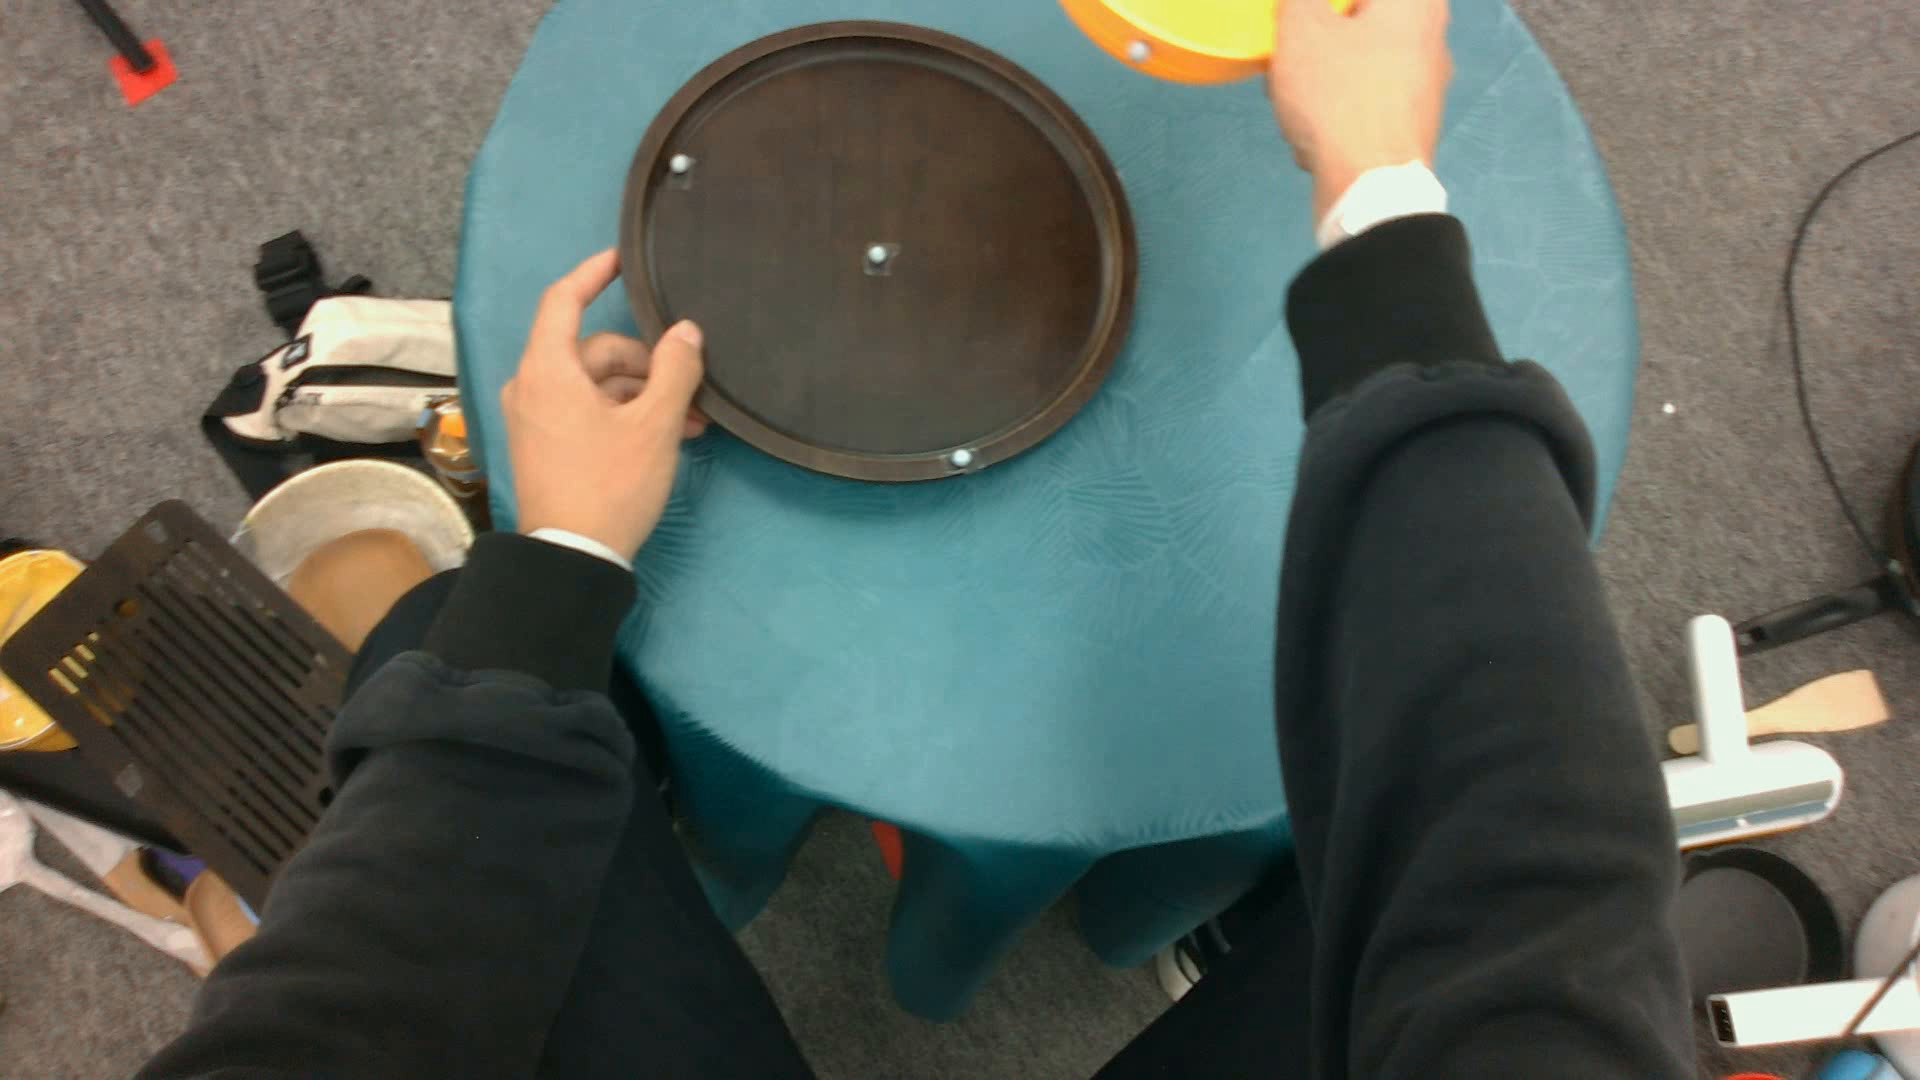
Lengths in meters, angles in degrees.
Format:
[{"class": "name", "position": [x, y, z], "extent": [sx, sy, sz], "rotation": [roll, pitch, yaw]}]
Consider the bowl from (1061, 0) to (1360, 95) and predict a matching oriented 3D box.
[{"class": "bowl", "position": [0.101, -0.252, 0.612], "extent": [0.145, 0.060, 0.145], "rotation": [3, 73, -10]}]

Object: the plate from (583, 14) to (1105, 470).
[{"class": "plate", "position": [-0.053, -0.150, 0.674], "extent": [0.255, 0.029, 0.255], "rotation": [4, 71, -11]}]
